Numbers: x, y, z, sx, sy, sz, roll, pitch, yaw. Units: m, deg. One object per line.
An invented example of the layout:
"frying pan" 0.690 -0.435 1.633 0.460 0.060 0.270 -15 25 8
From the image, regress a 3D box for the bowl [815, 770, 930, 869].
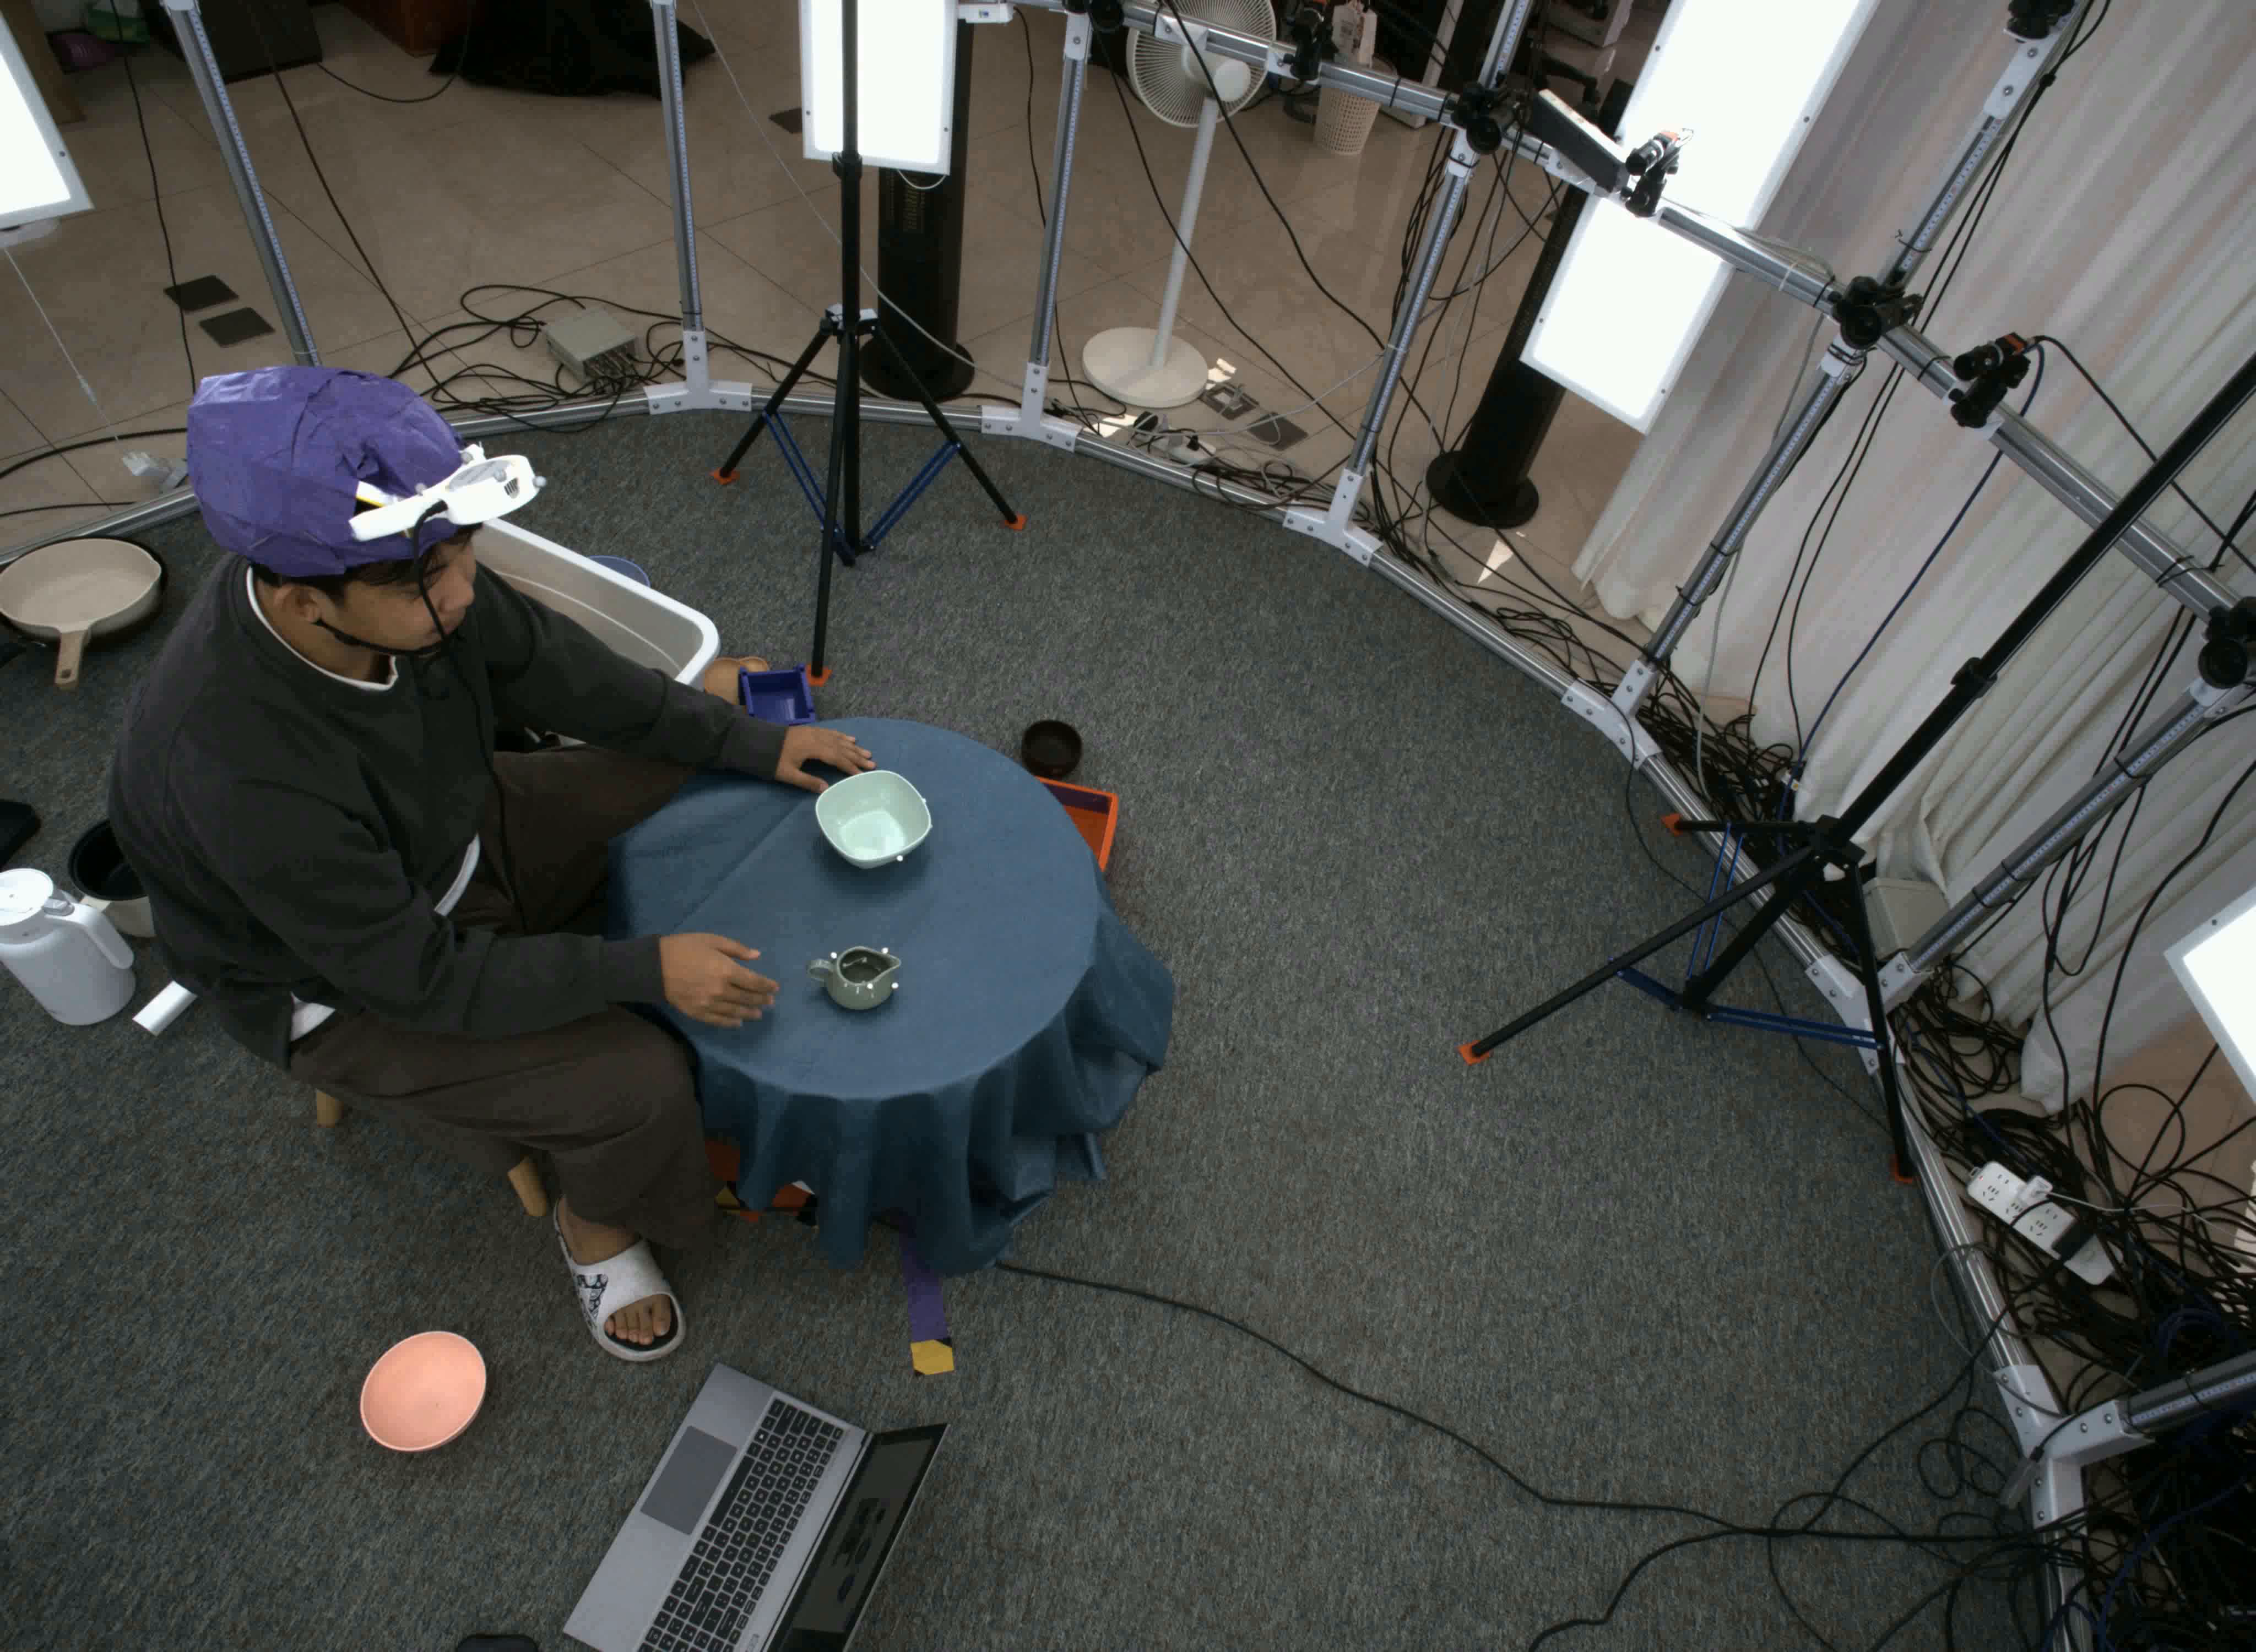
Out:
"bowl" -0.336 0.001 1.706 0.151 0.060 0.149 8 52 -9

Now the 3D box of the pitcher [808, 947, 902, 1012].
"pitcher" -0.330 0.180 1.574 0.112 0.057 0.082 -2 53 -13
